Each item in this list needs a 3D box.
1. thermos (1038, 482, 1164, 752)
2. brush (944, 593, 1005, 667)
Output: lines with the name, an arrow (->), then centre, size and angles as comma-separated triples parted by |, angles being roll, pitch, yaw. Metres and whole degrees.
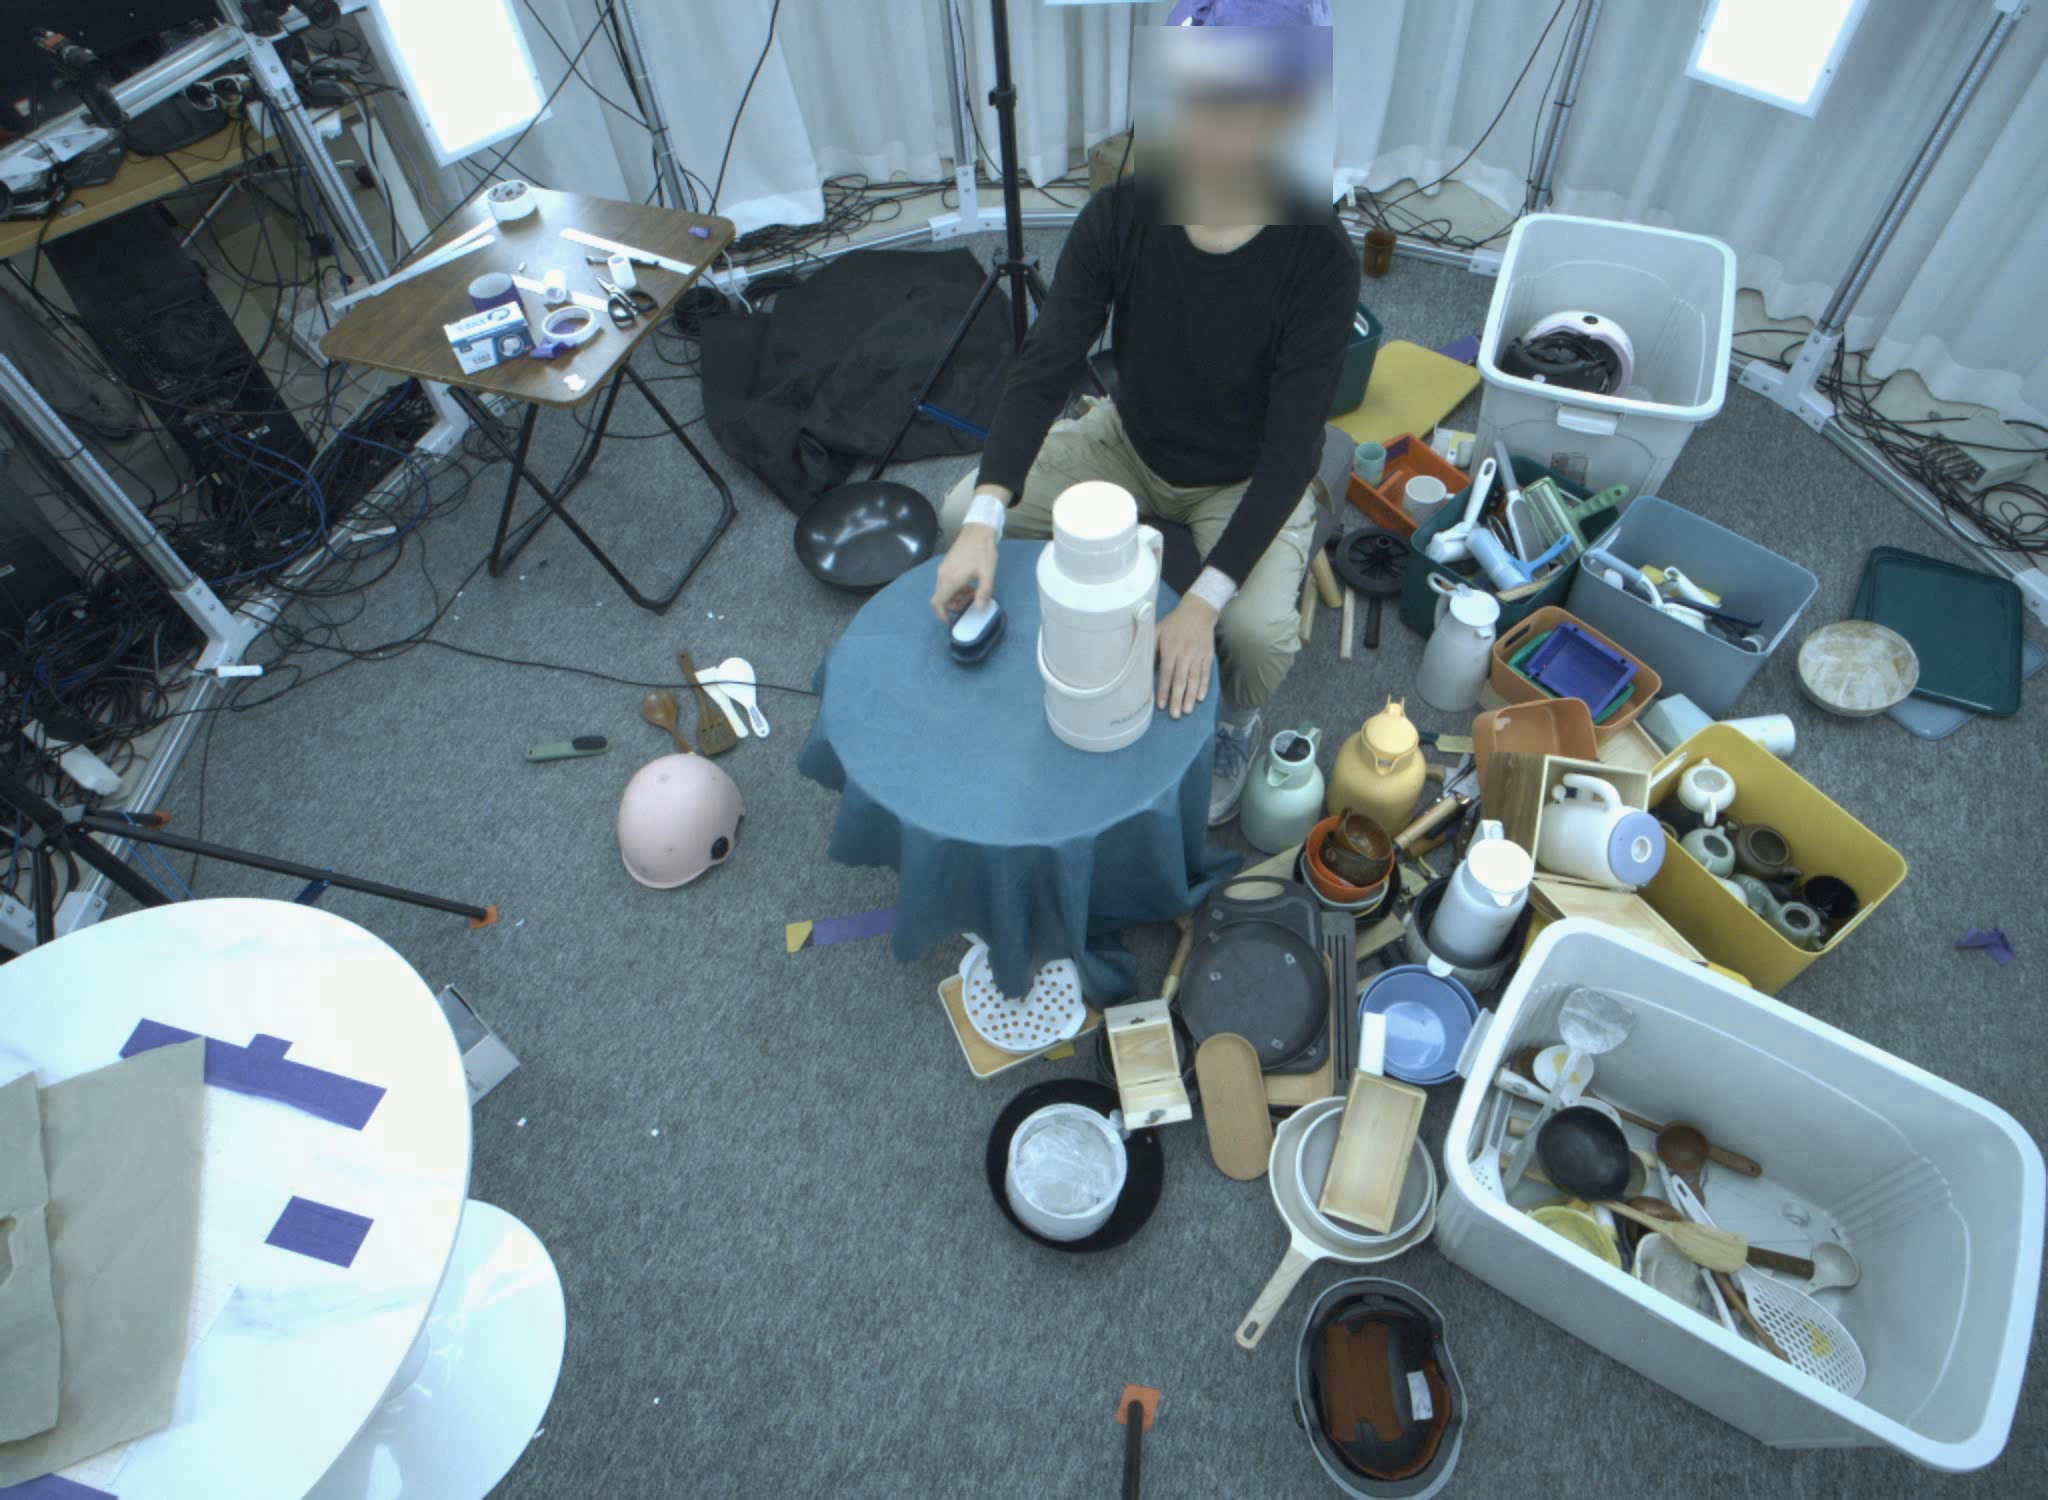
thermos -> 0.113, -0.184, 1.670 | 0.172, 0.411, 0.208 | 36, 65, 27
brush -> -0.076, -0.183, 1.885 | 0.067, 0.062, 0.122 | 26, 60, 16
